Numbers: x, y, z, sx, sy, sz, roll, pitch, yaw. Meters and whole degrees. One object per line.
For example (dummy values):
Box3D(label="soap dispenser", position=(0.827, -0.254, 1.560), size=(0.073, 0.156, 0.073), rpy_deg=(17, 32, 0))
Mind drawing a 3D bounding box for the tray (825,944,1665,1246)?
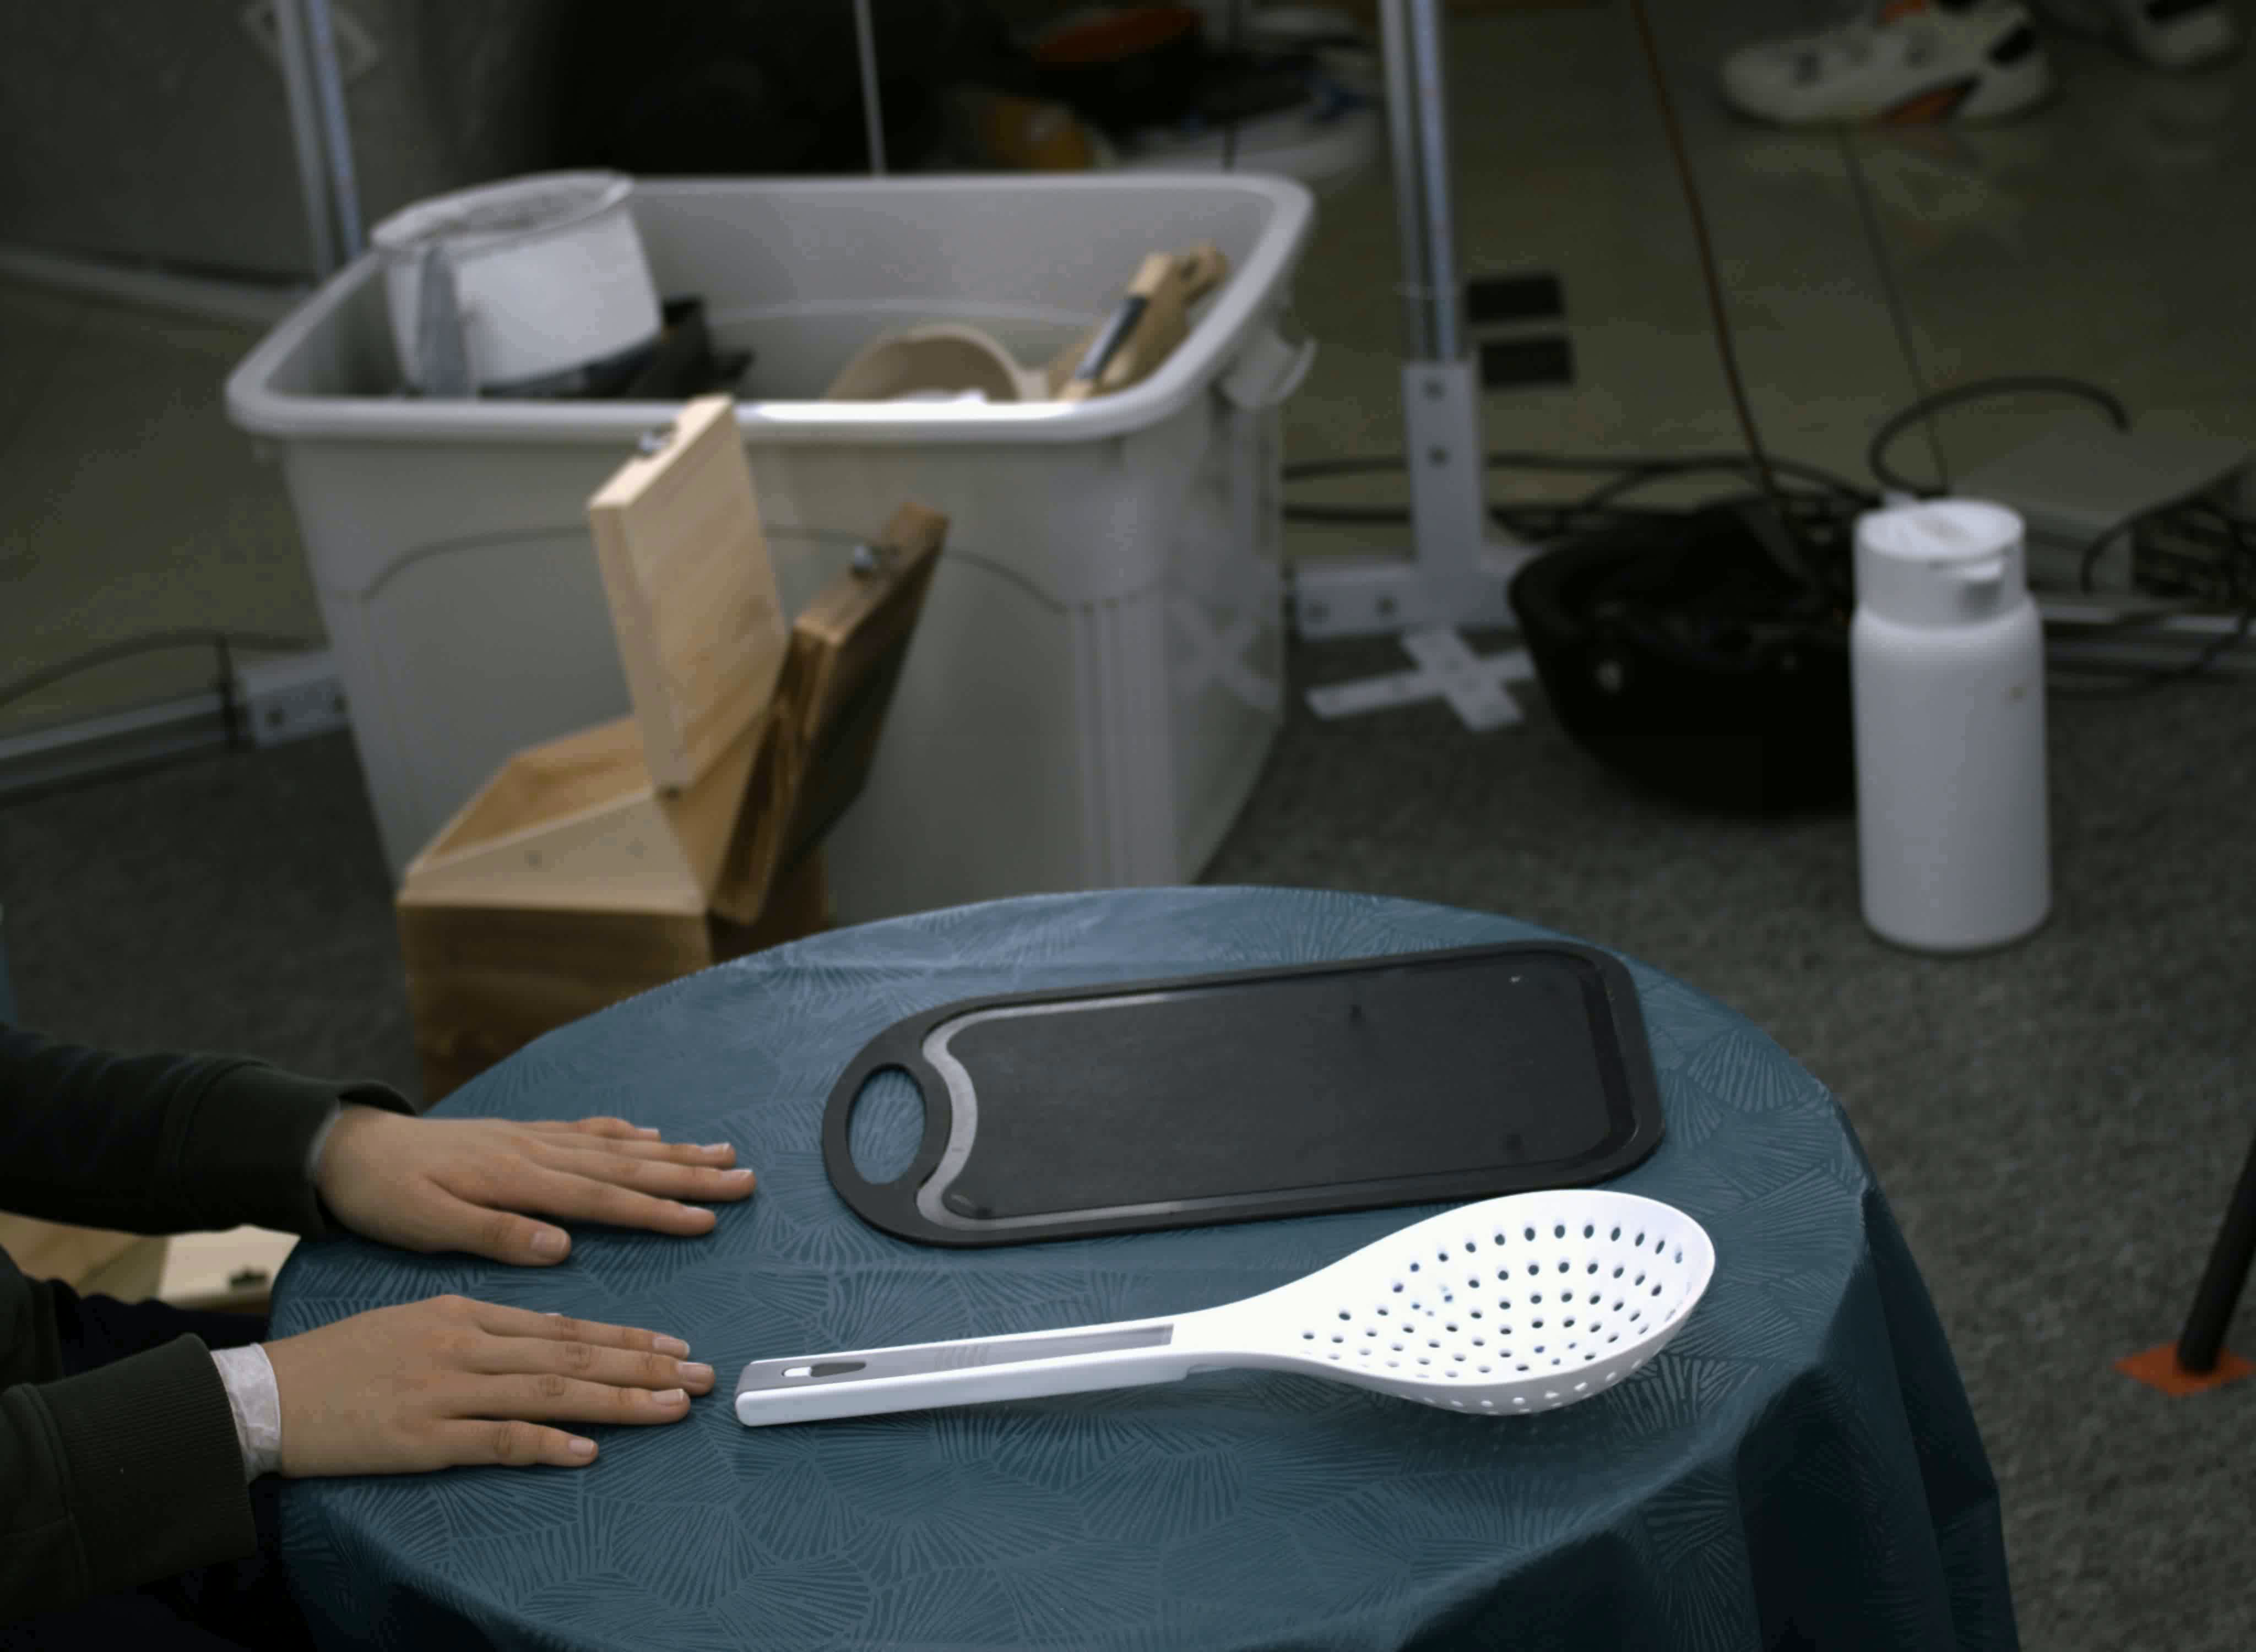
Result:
Box3D(label="tray", position=(0.043, 0.103, 2.213), size=(0.325, 0.010, 0.208), rpy_deg=(-6, 24, 2))

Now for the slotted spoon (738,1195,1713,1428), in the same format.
Box3D(label="slotted spoon", position=(0.032, 0.182, 1.999), size=(0.349, 0.046, 0.134), rpy_deg=(-4, 23, 8))
